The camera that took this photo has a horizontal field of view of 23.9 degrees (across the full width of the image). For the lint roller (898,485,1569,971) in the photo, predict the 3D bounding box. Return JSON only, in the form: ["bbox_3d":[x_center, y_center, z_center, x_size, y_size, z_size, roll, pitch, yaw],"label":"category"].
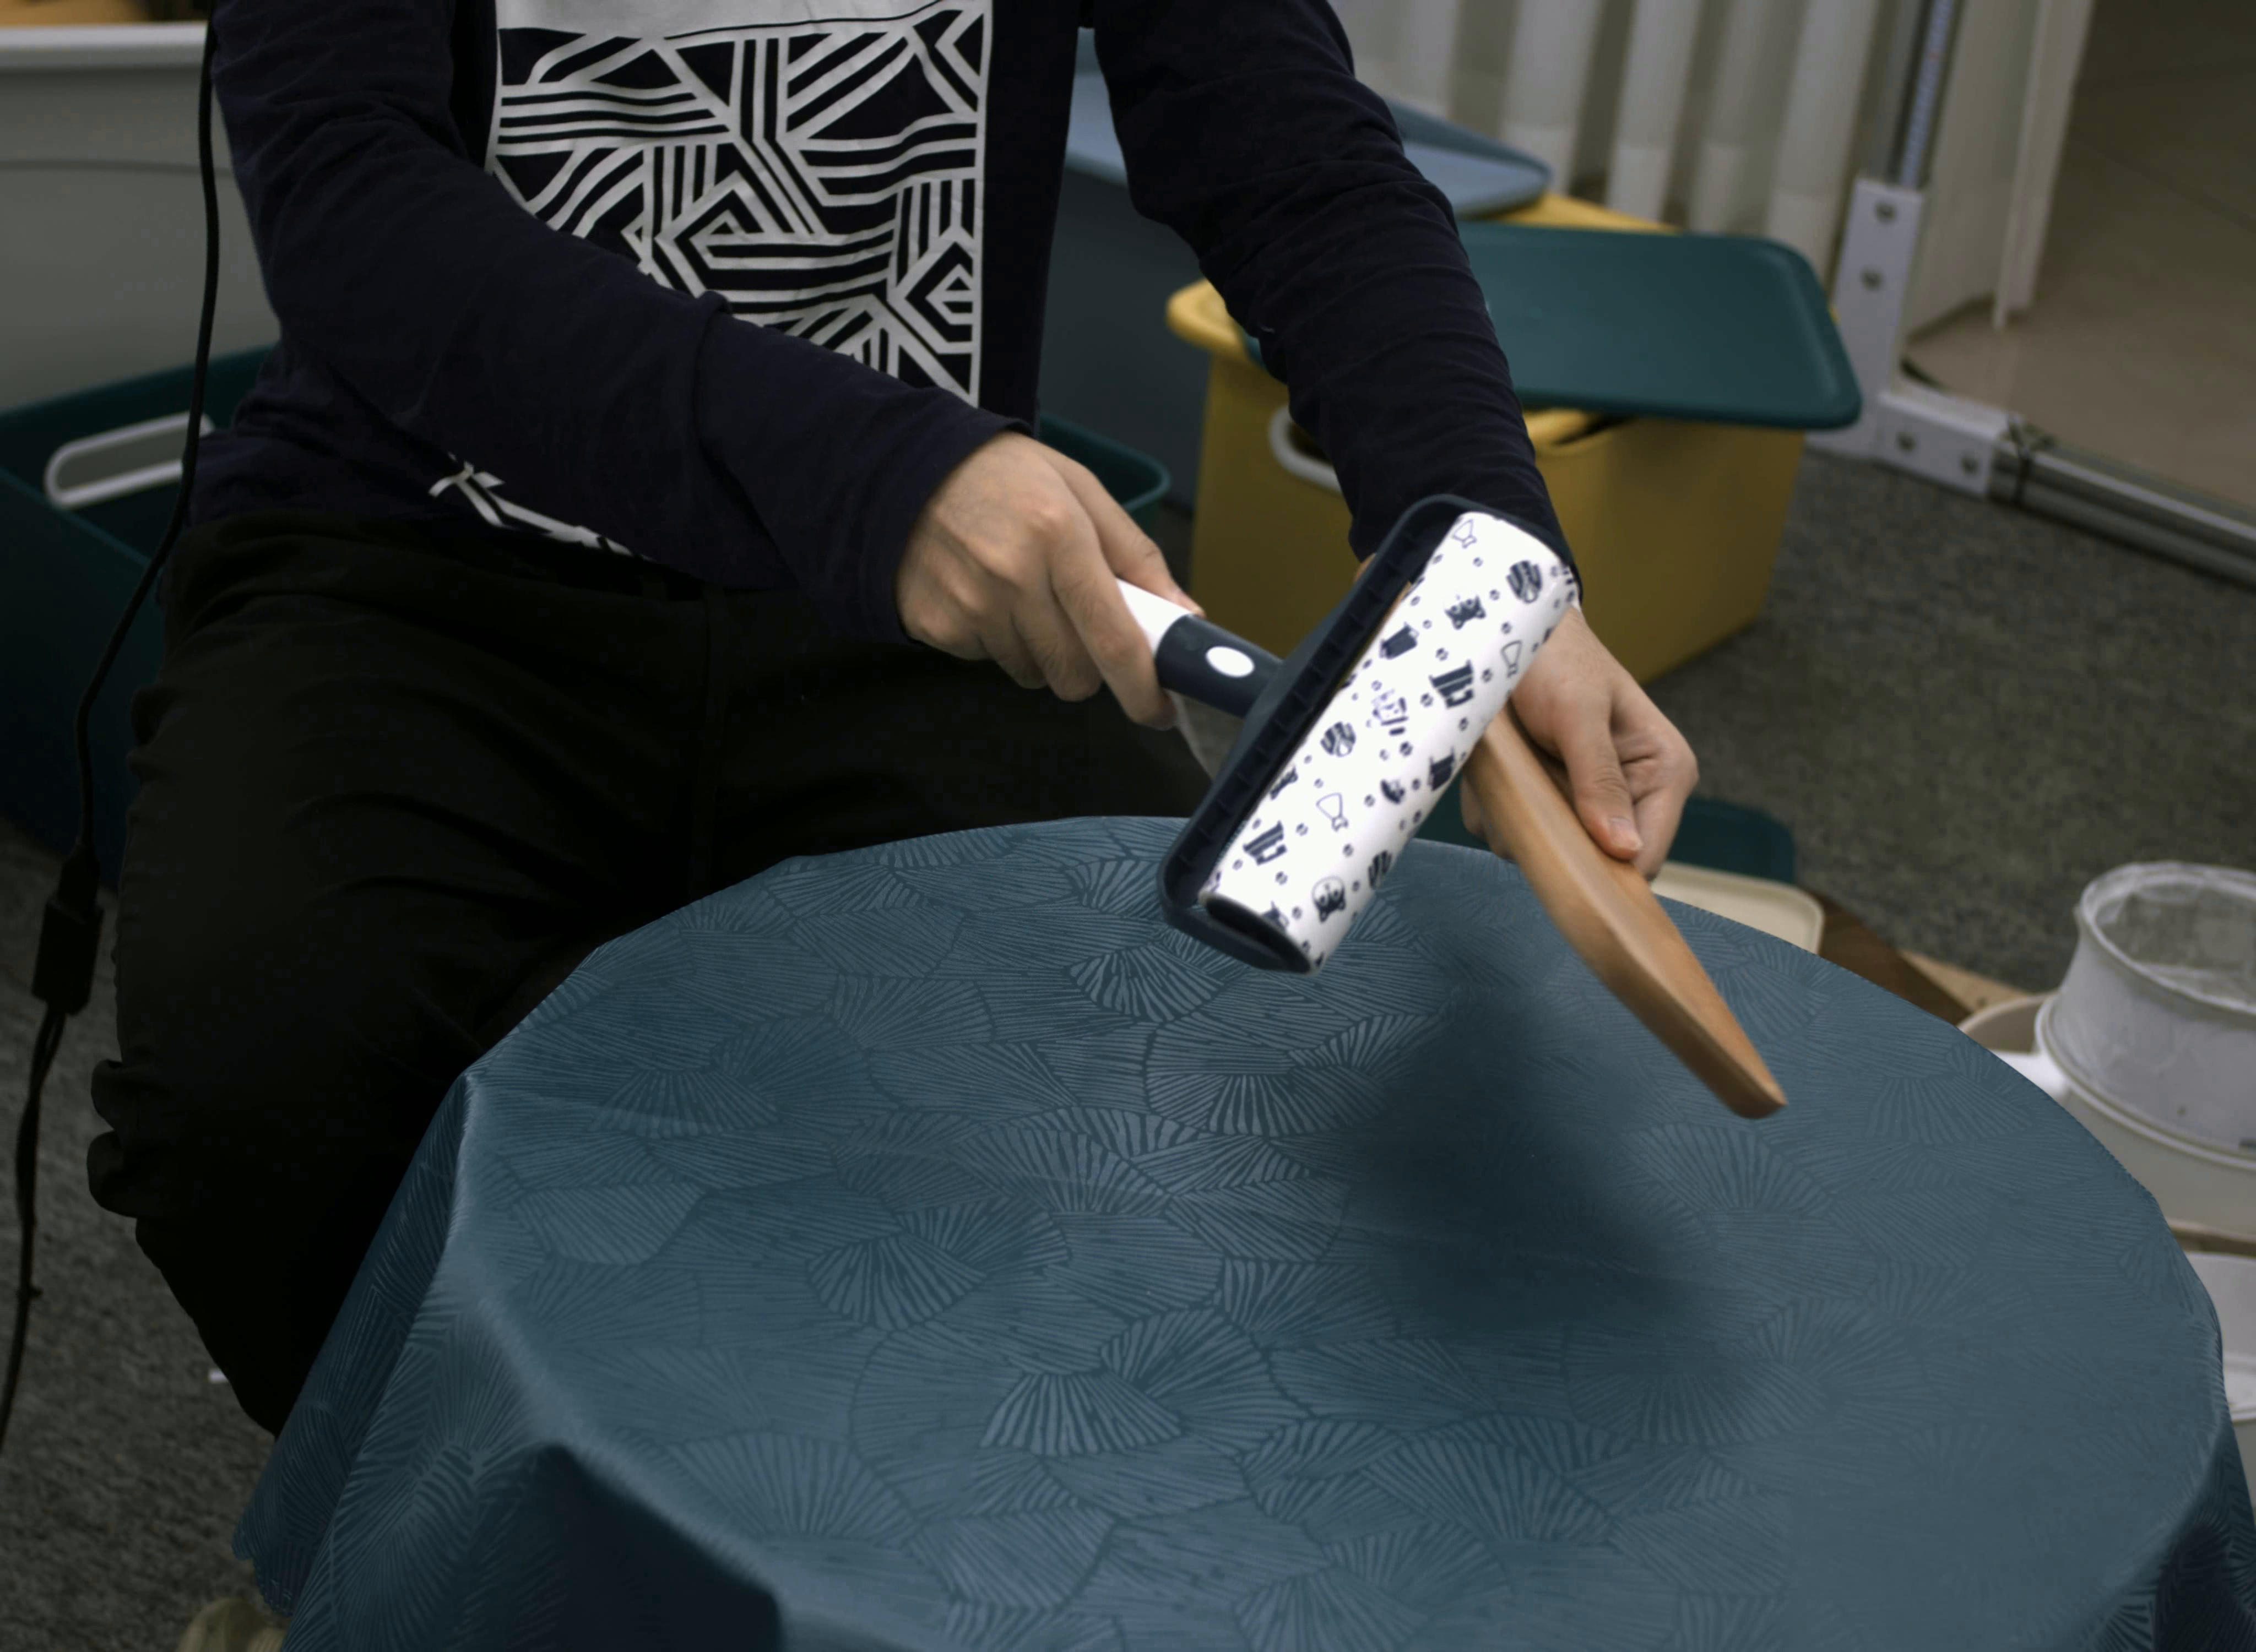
[{"bbox_3d":[0.010,-0.063,1.810,0.249,0.050,0.176,24,72,35],"label":"lint roller"}]

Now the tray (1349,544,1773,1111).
[{"bbox_3d":[0.144,-0.001,1.814,0.023,0.129,0.253,-37,35,7],"label":"tray"}]
